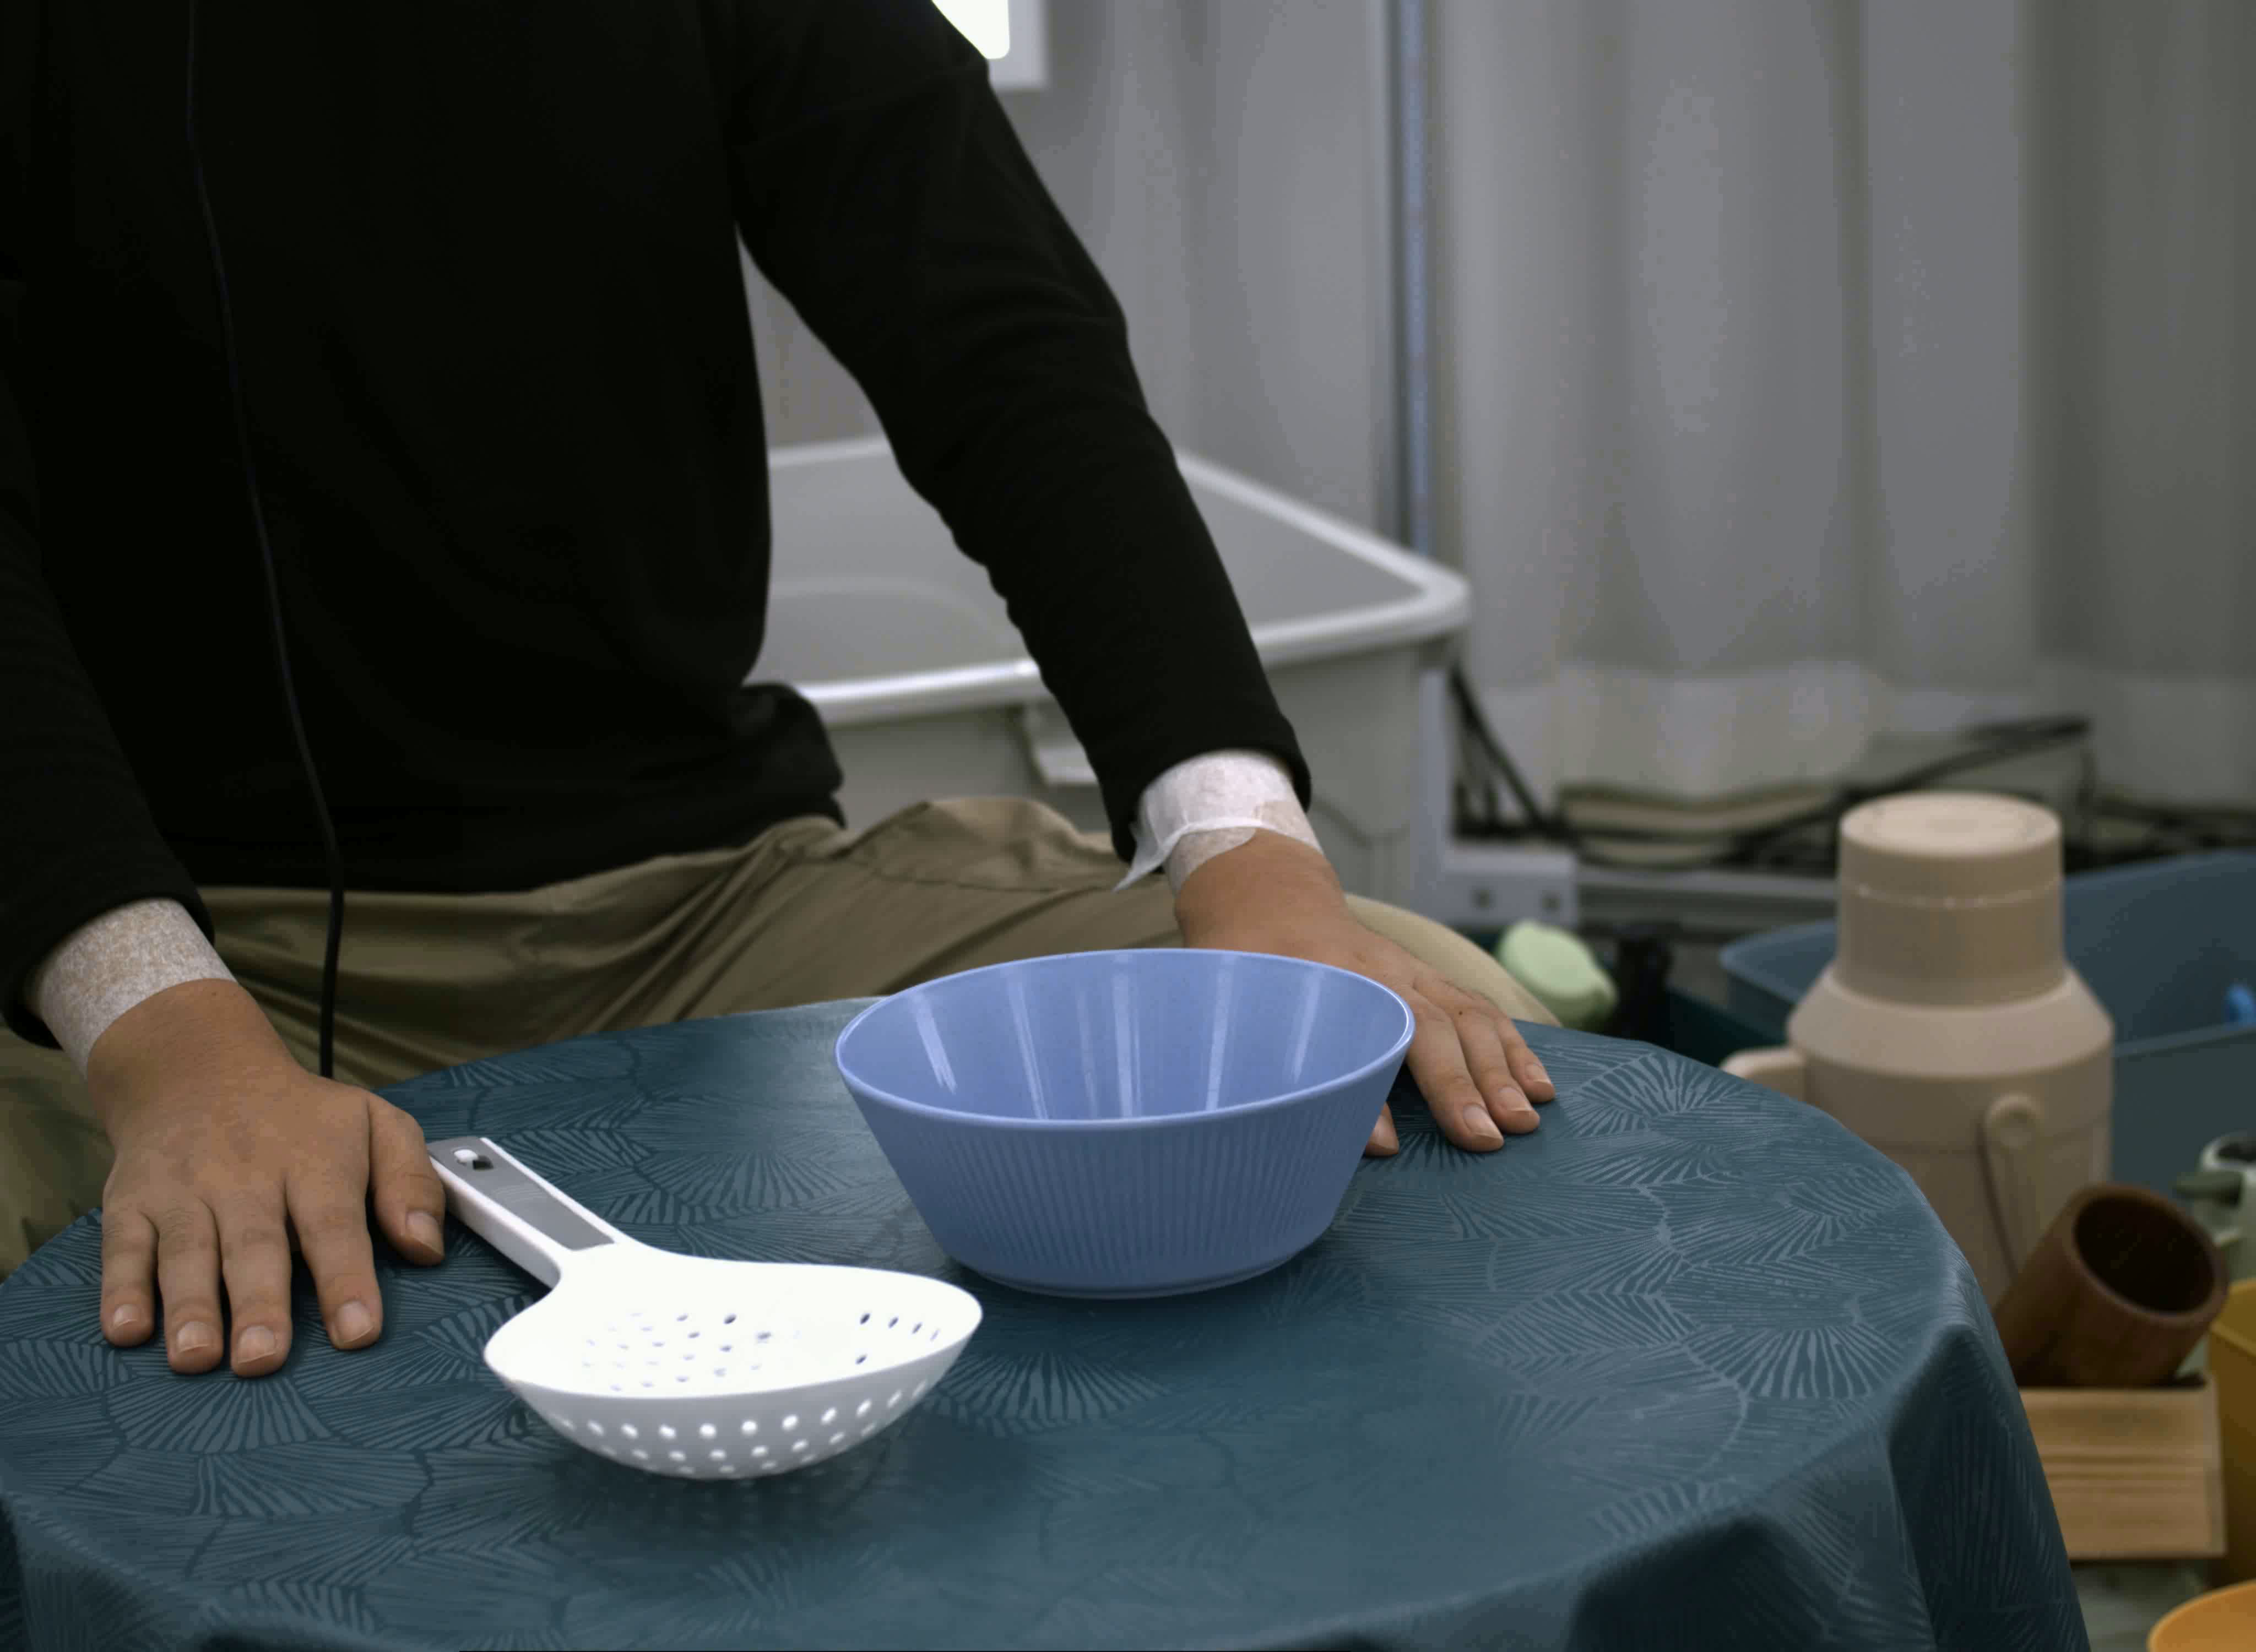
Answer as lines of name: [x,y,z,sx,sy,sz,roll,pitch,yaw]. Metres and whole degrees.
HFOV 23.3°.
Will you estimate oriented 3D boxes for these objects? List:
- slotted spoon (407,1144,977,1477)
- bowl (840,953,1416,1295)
slotted spoon: [-0.151,0.131,1.593,0.135,0.045,0.352,-9,15,-22]
bowl: [0.001,0.093,1.661,0.175,0.070,0.177,-2,14,0]
